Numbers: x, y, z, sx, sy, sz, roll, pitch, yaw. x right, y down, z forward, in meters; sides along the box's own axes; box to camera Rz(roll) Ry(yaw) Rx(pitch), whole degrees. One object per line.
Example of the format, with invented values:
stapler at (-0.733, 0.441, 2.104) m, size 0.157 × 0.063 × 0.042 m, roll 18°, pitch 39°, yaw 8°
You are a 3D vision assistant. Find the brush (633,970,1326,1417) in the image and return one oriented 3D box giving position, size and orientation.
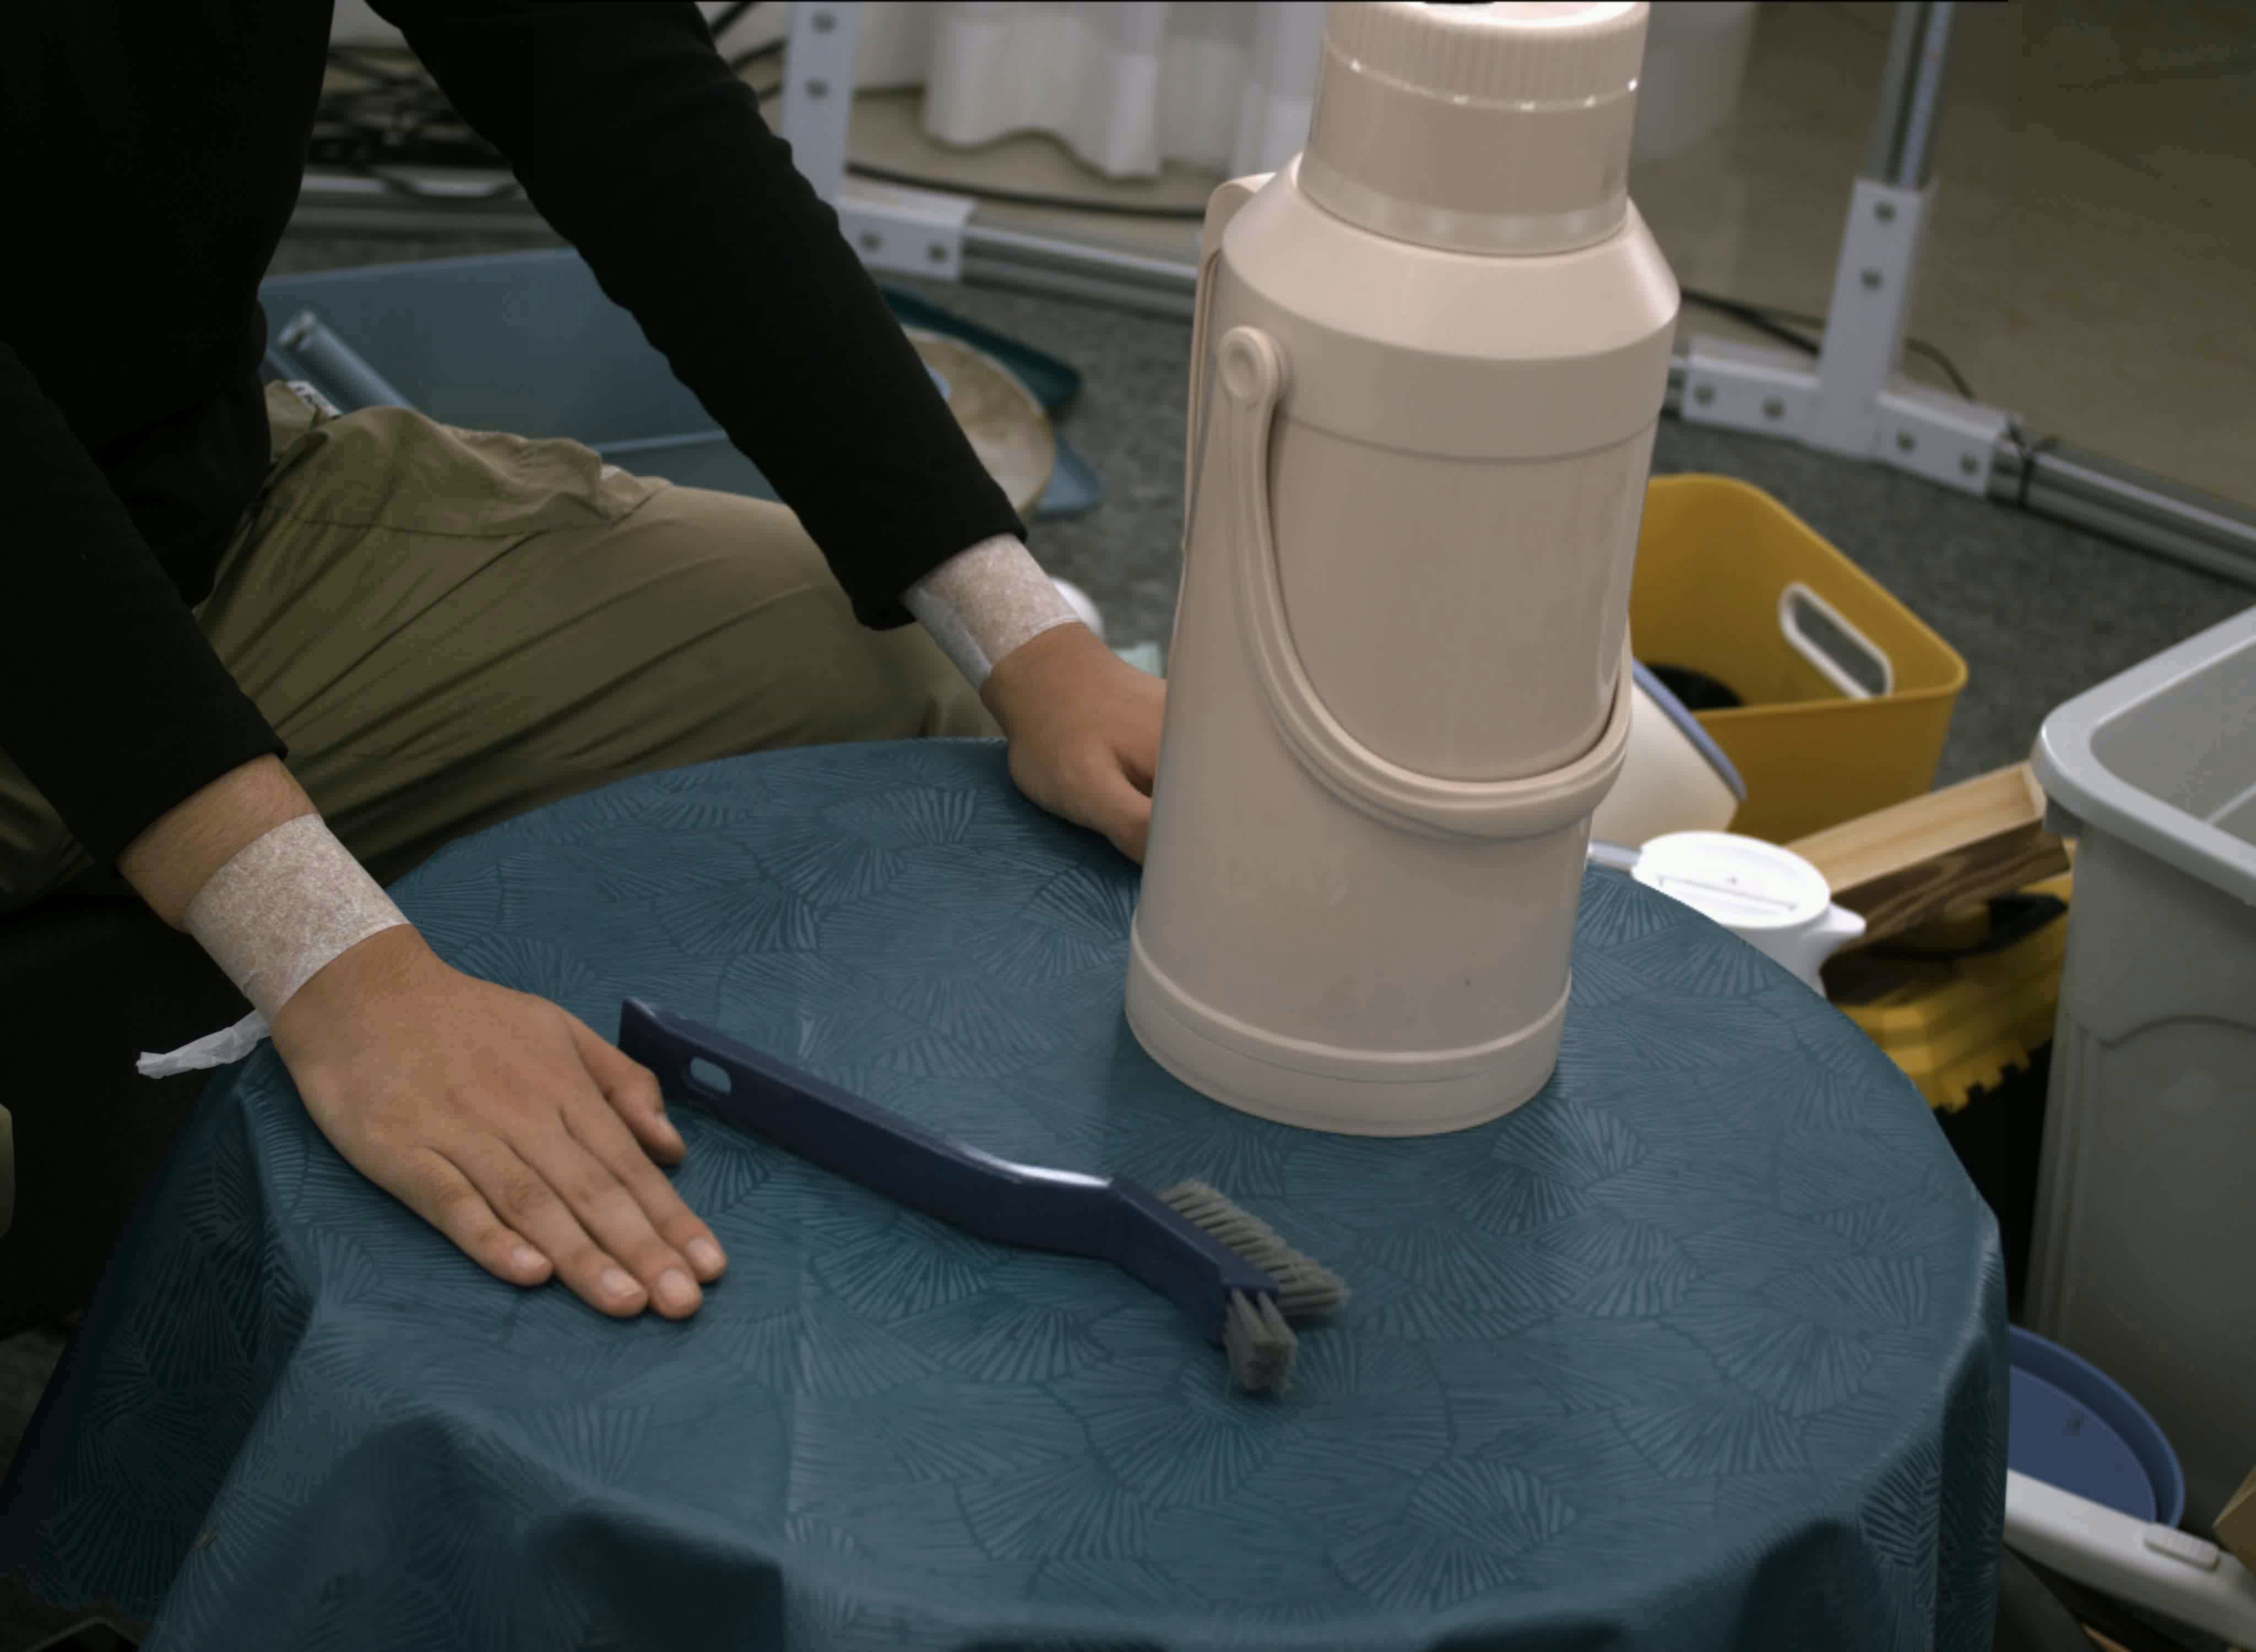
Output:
brush at (-0.061, 0.118, 1.763) m, size 0.274 × 0.033 × 0.095 m, roll 20°, pitch 29°, yaw 19°

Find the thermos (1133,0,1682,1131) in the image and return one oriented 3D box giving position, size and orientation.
thermos at (0.092, -0.110, 1.845) m, size 0.174 × 0.405 × 0.209 m, roll -15°, pitch 34°, yaw -35°
